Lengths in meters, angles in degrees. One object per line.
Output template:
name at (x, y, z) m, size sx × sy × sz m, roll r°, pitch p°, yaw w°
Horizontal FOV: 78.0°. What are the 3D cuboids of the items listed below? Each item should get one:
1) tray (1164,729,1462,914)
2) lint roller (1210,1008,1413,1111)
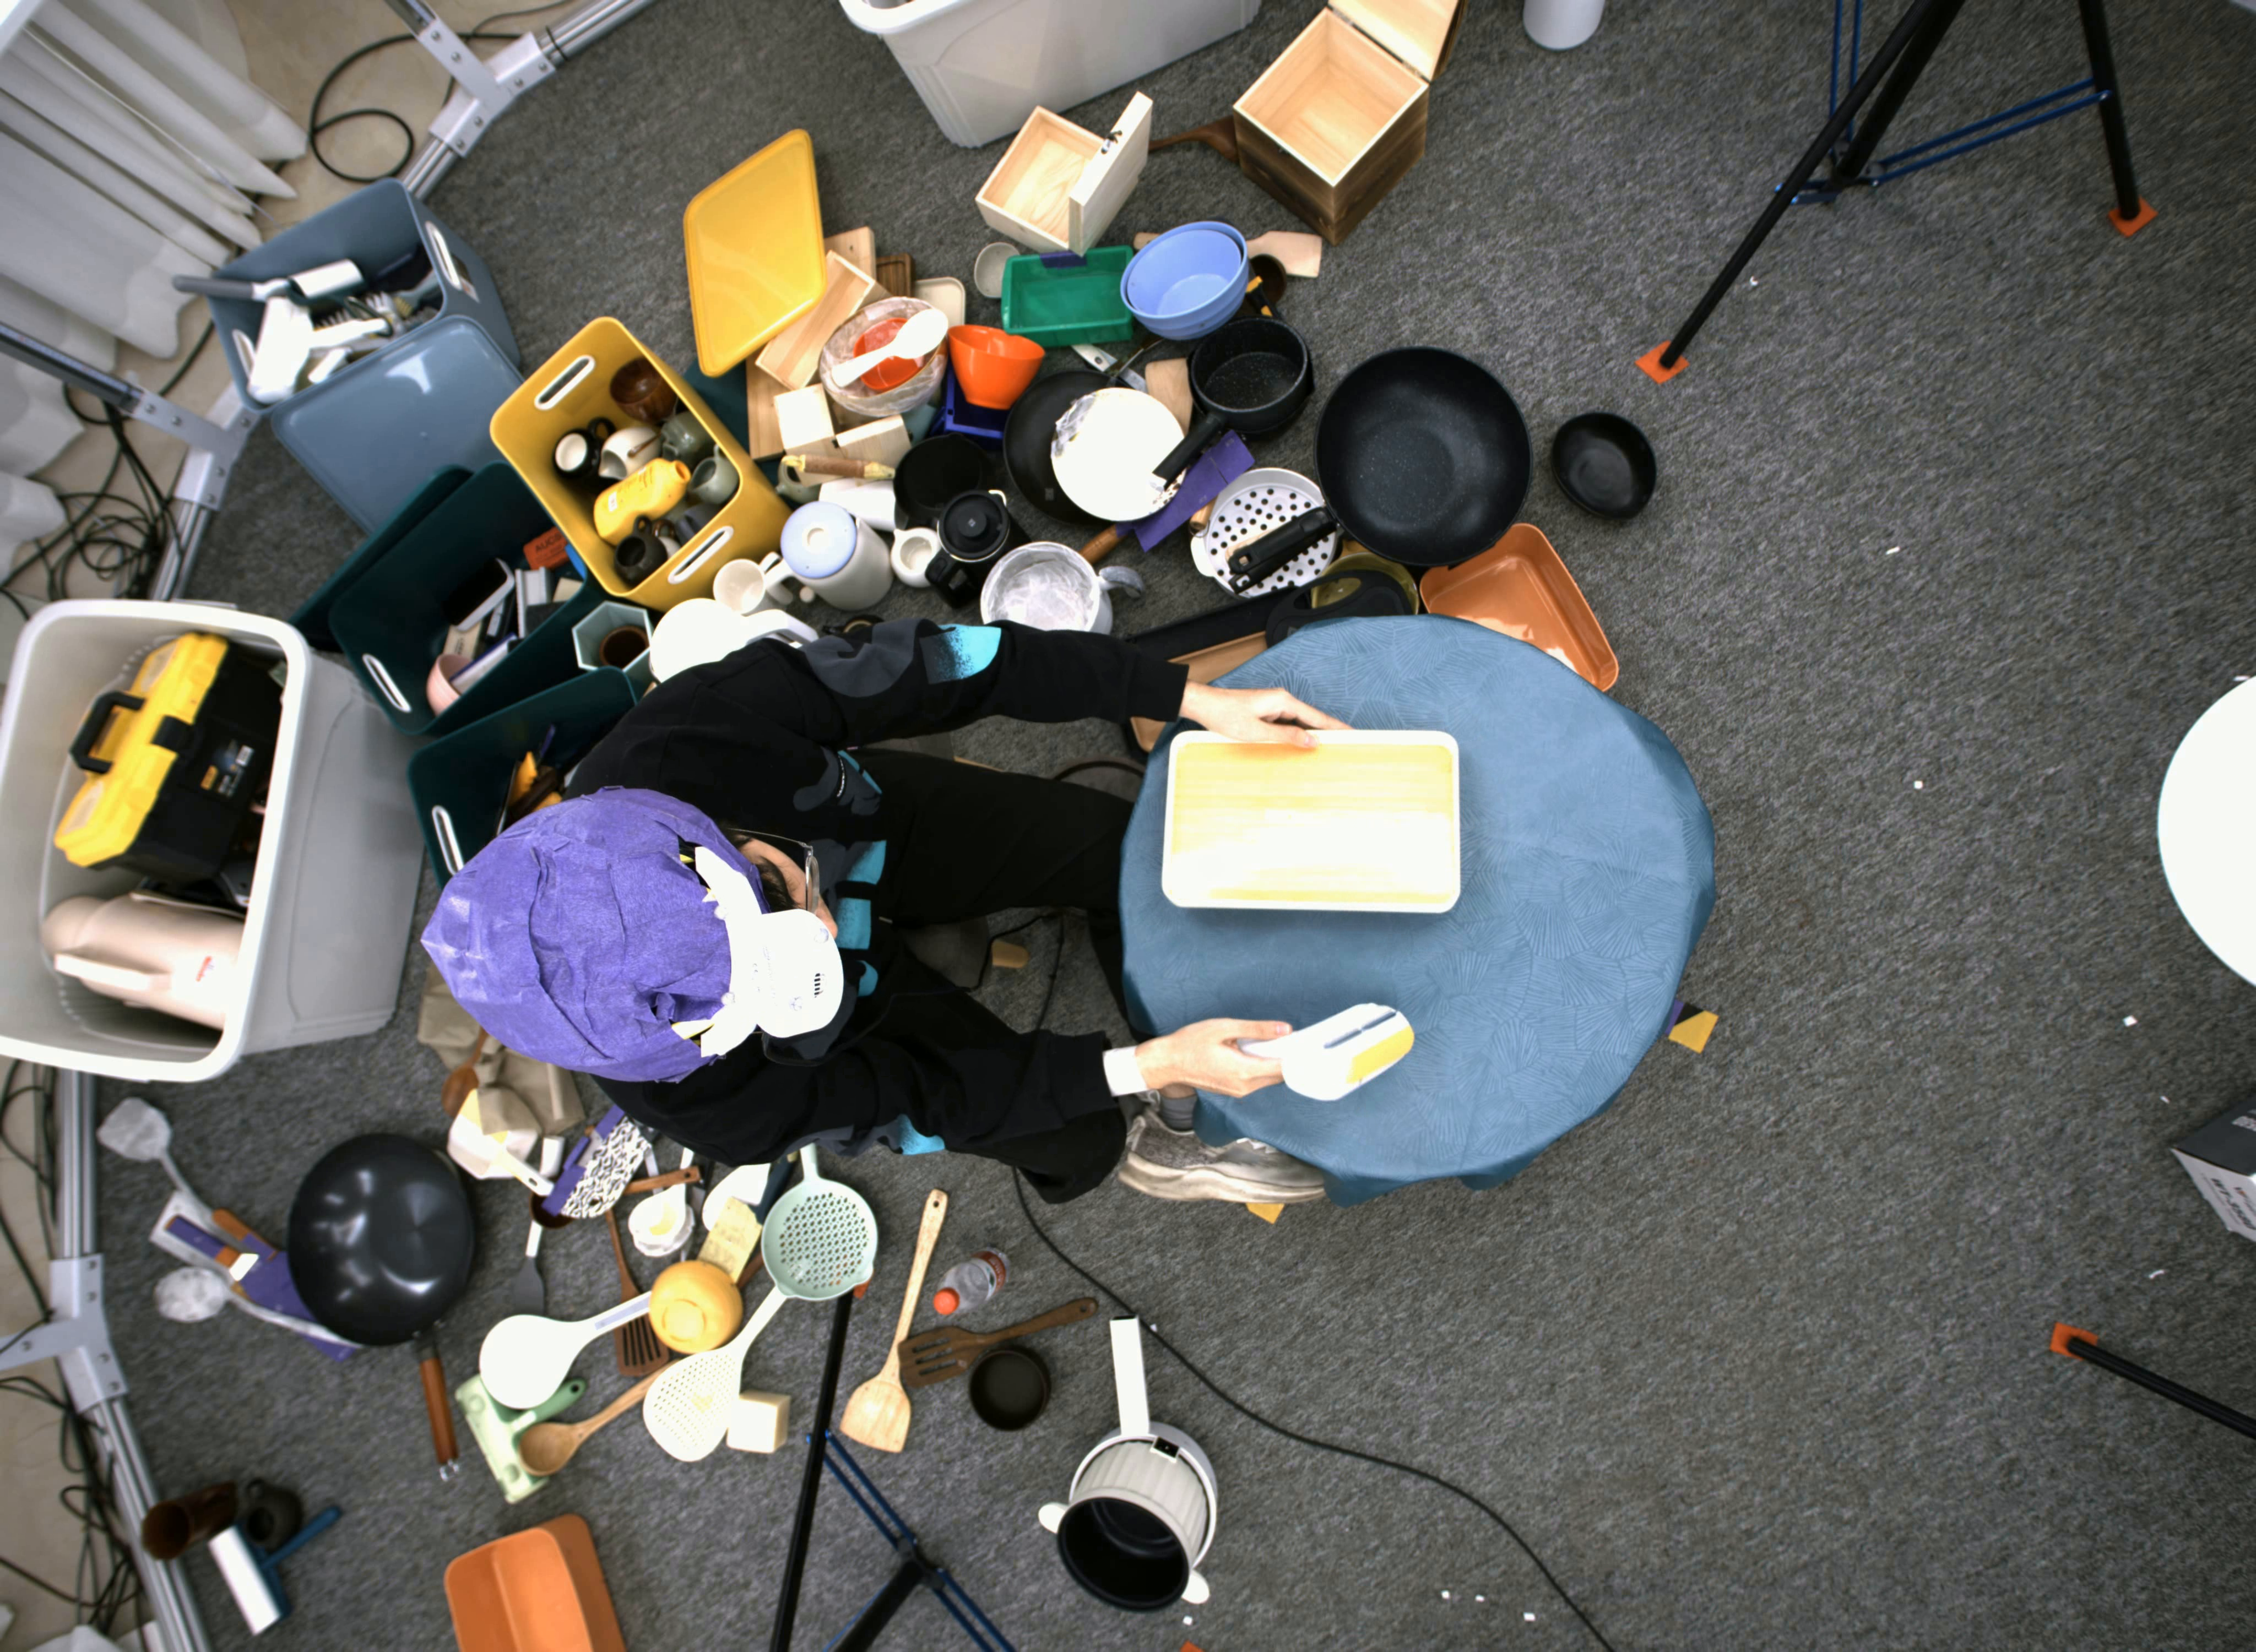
tray at (0.190, -0.007, 1.424) m, size 0.301 × 0.027 × 0.189 m, roll 1°, pitch 77°, yaw 10°
lint roller at (0.164, 0.220, 1.368) m, size 0.193 × 0.190 × 0.075 m, roll 7°, pitch 107°, yaw 37°
